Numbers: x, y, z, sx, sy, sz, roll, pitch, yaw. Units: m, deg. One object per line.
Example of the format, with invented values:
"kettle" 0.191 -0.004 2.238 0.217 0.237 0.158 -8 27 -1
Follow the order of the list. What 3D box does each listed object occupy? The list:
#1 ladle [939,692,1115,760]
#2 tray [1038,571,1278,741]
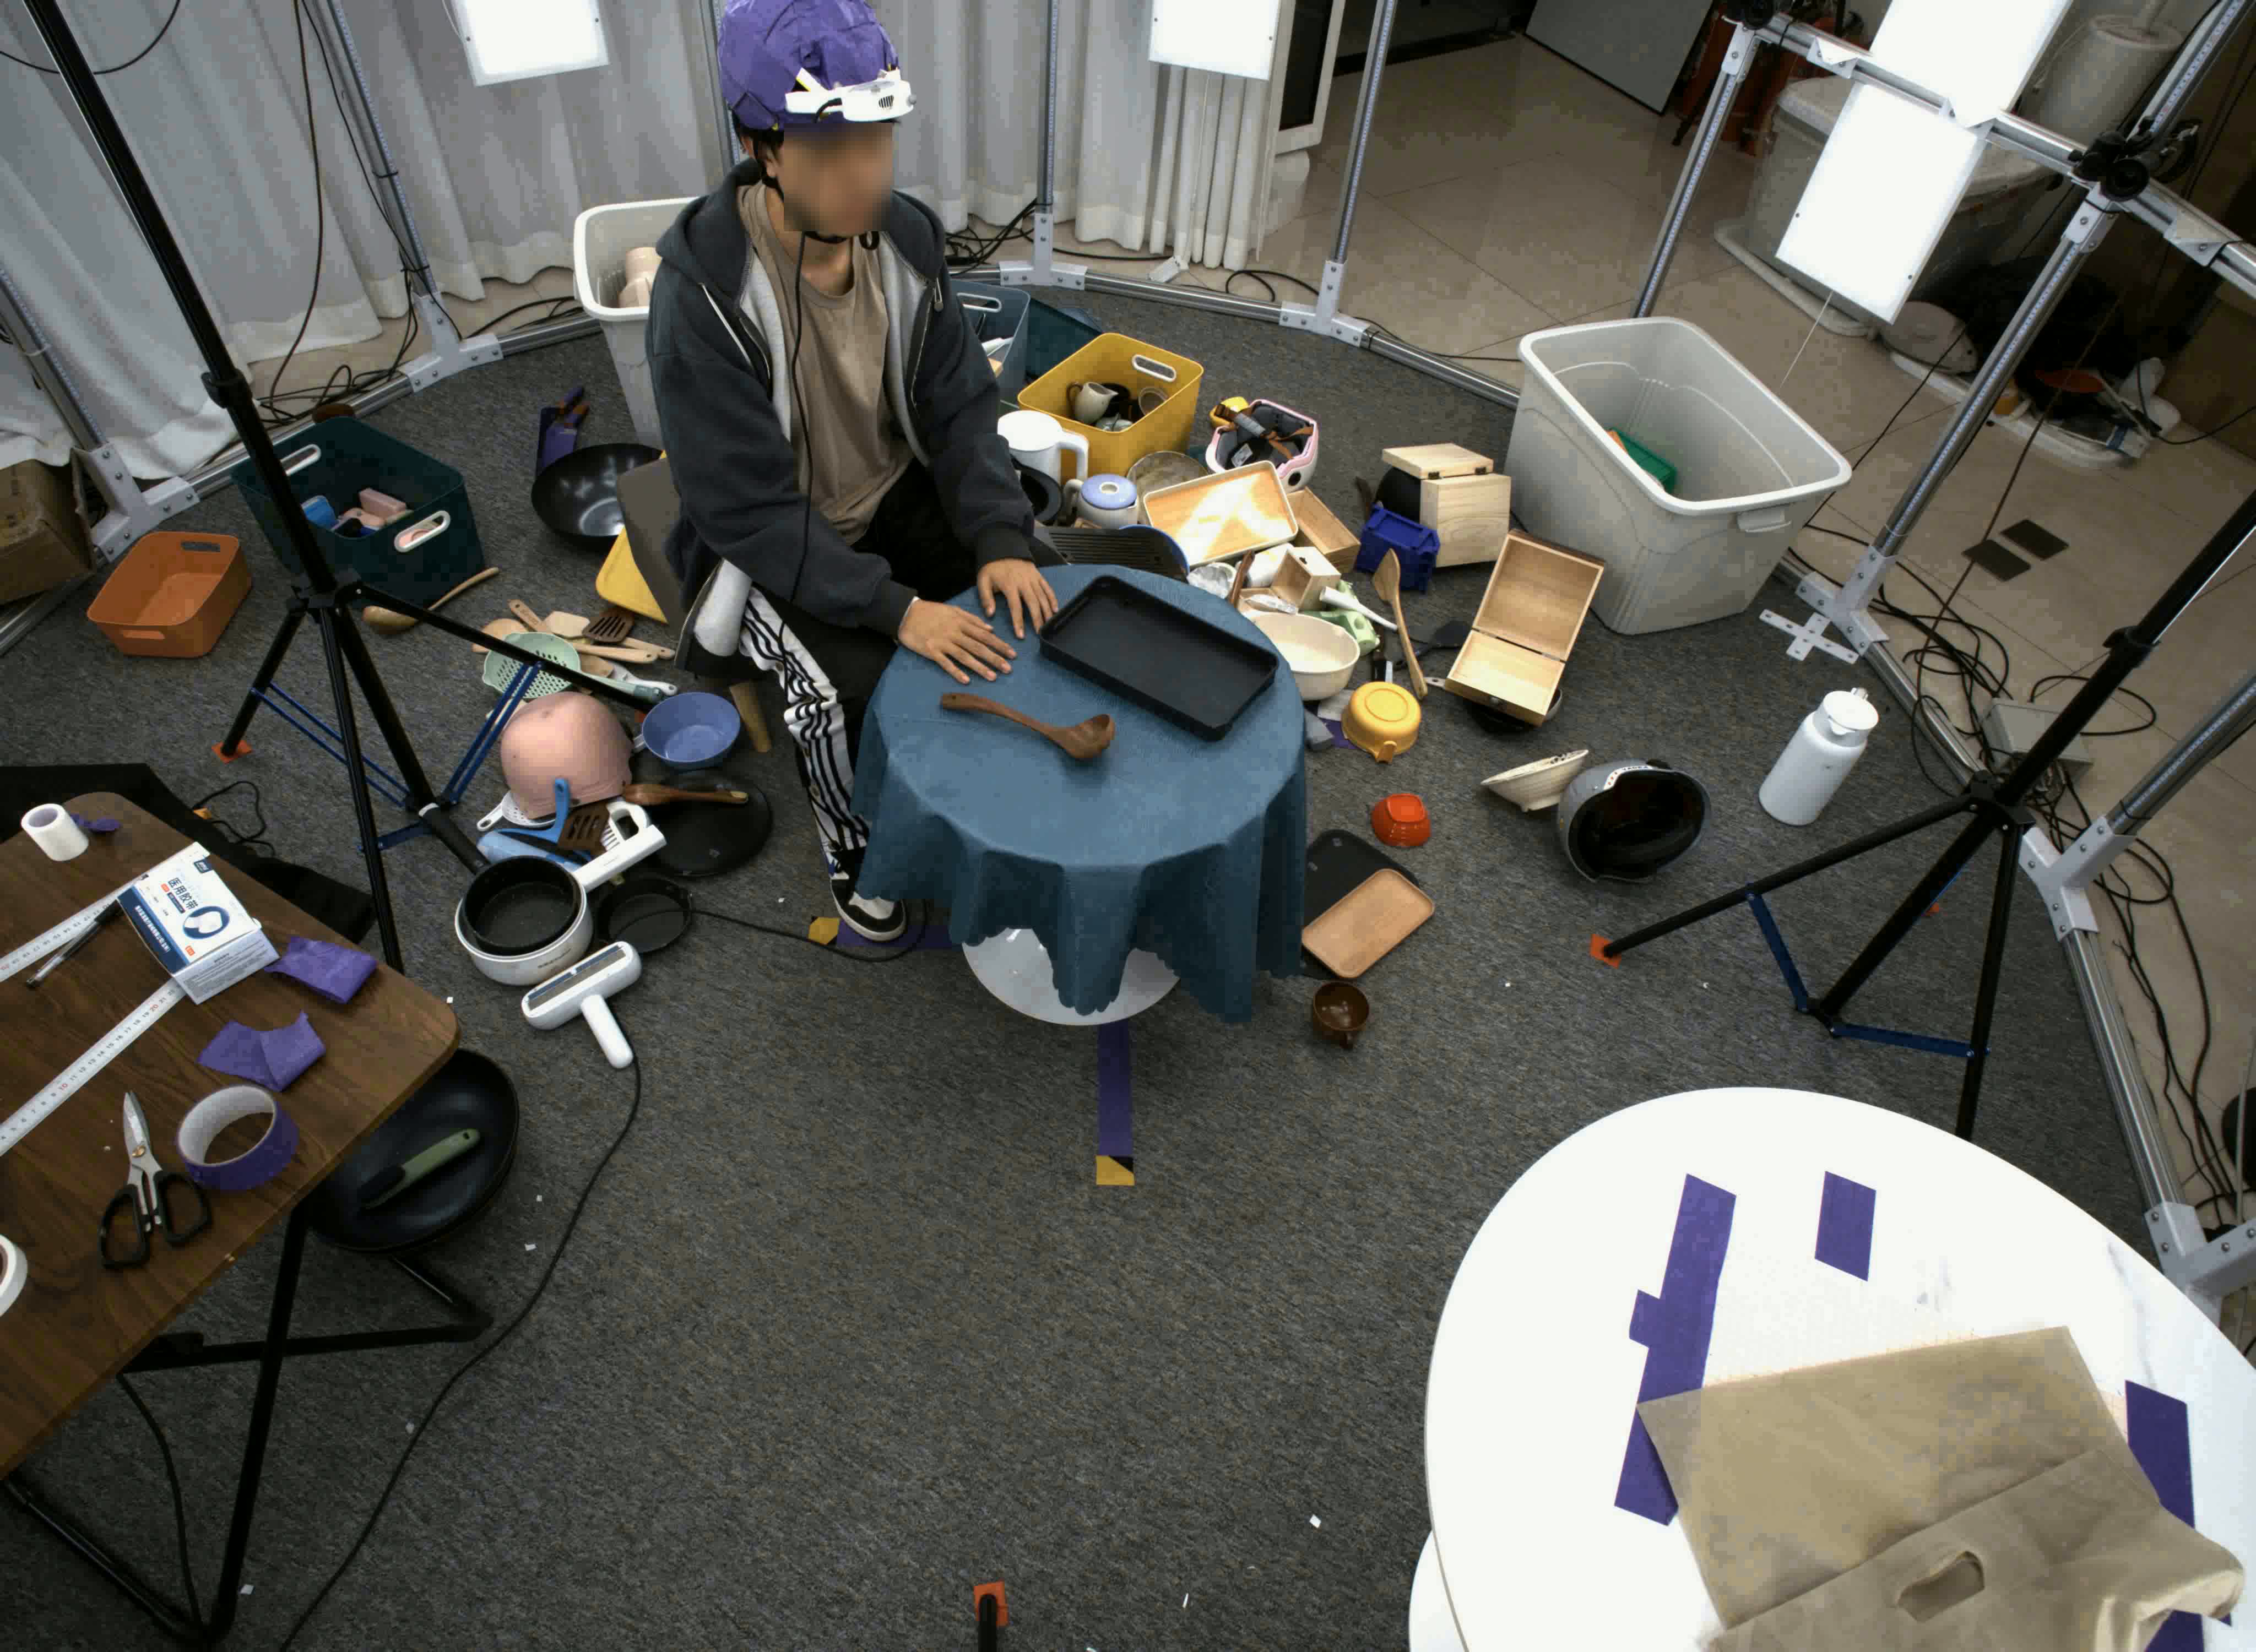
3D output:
"ladle" -0.141 -0.152 1.747 0.261 0.063 0.078 20 51 13
"tray" 0.042 -0.250 1.860 0.321 0.036 0.187 30 54 19
